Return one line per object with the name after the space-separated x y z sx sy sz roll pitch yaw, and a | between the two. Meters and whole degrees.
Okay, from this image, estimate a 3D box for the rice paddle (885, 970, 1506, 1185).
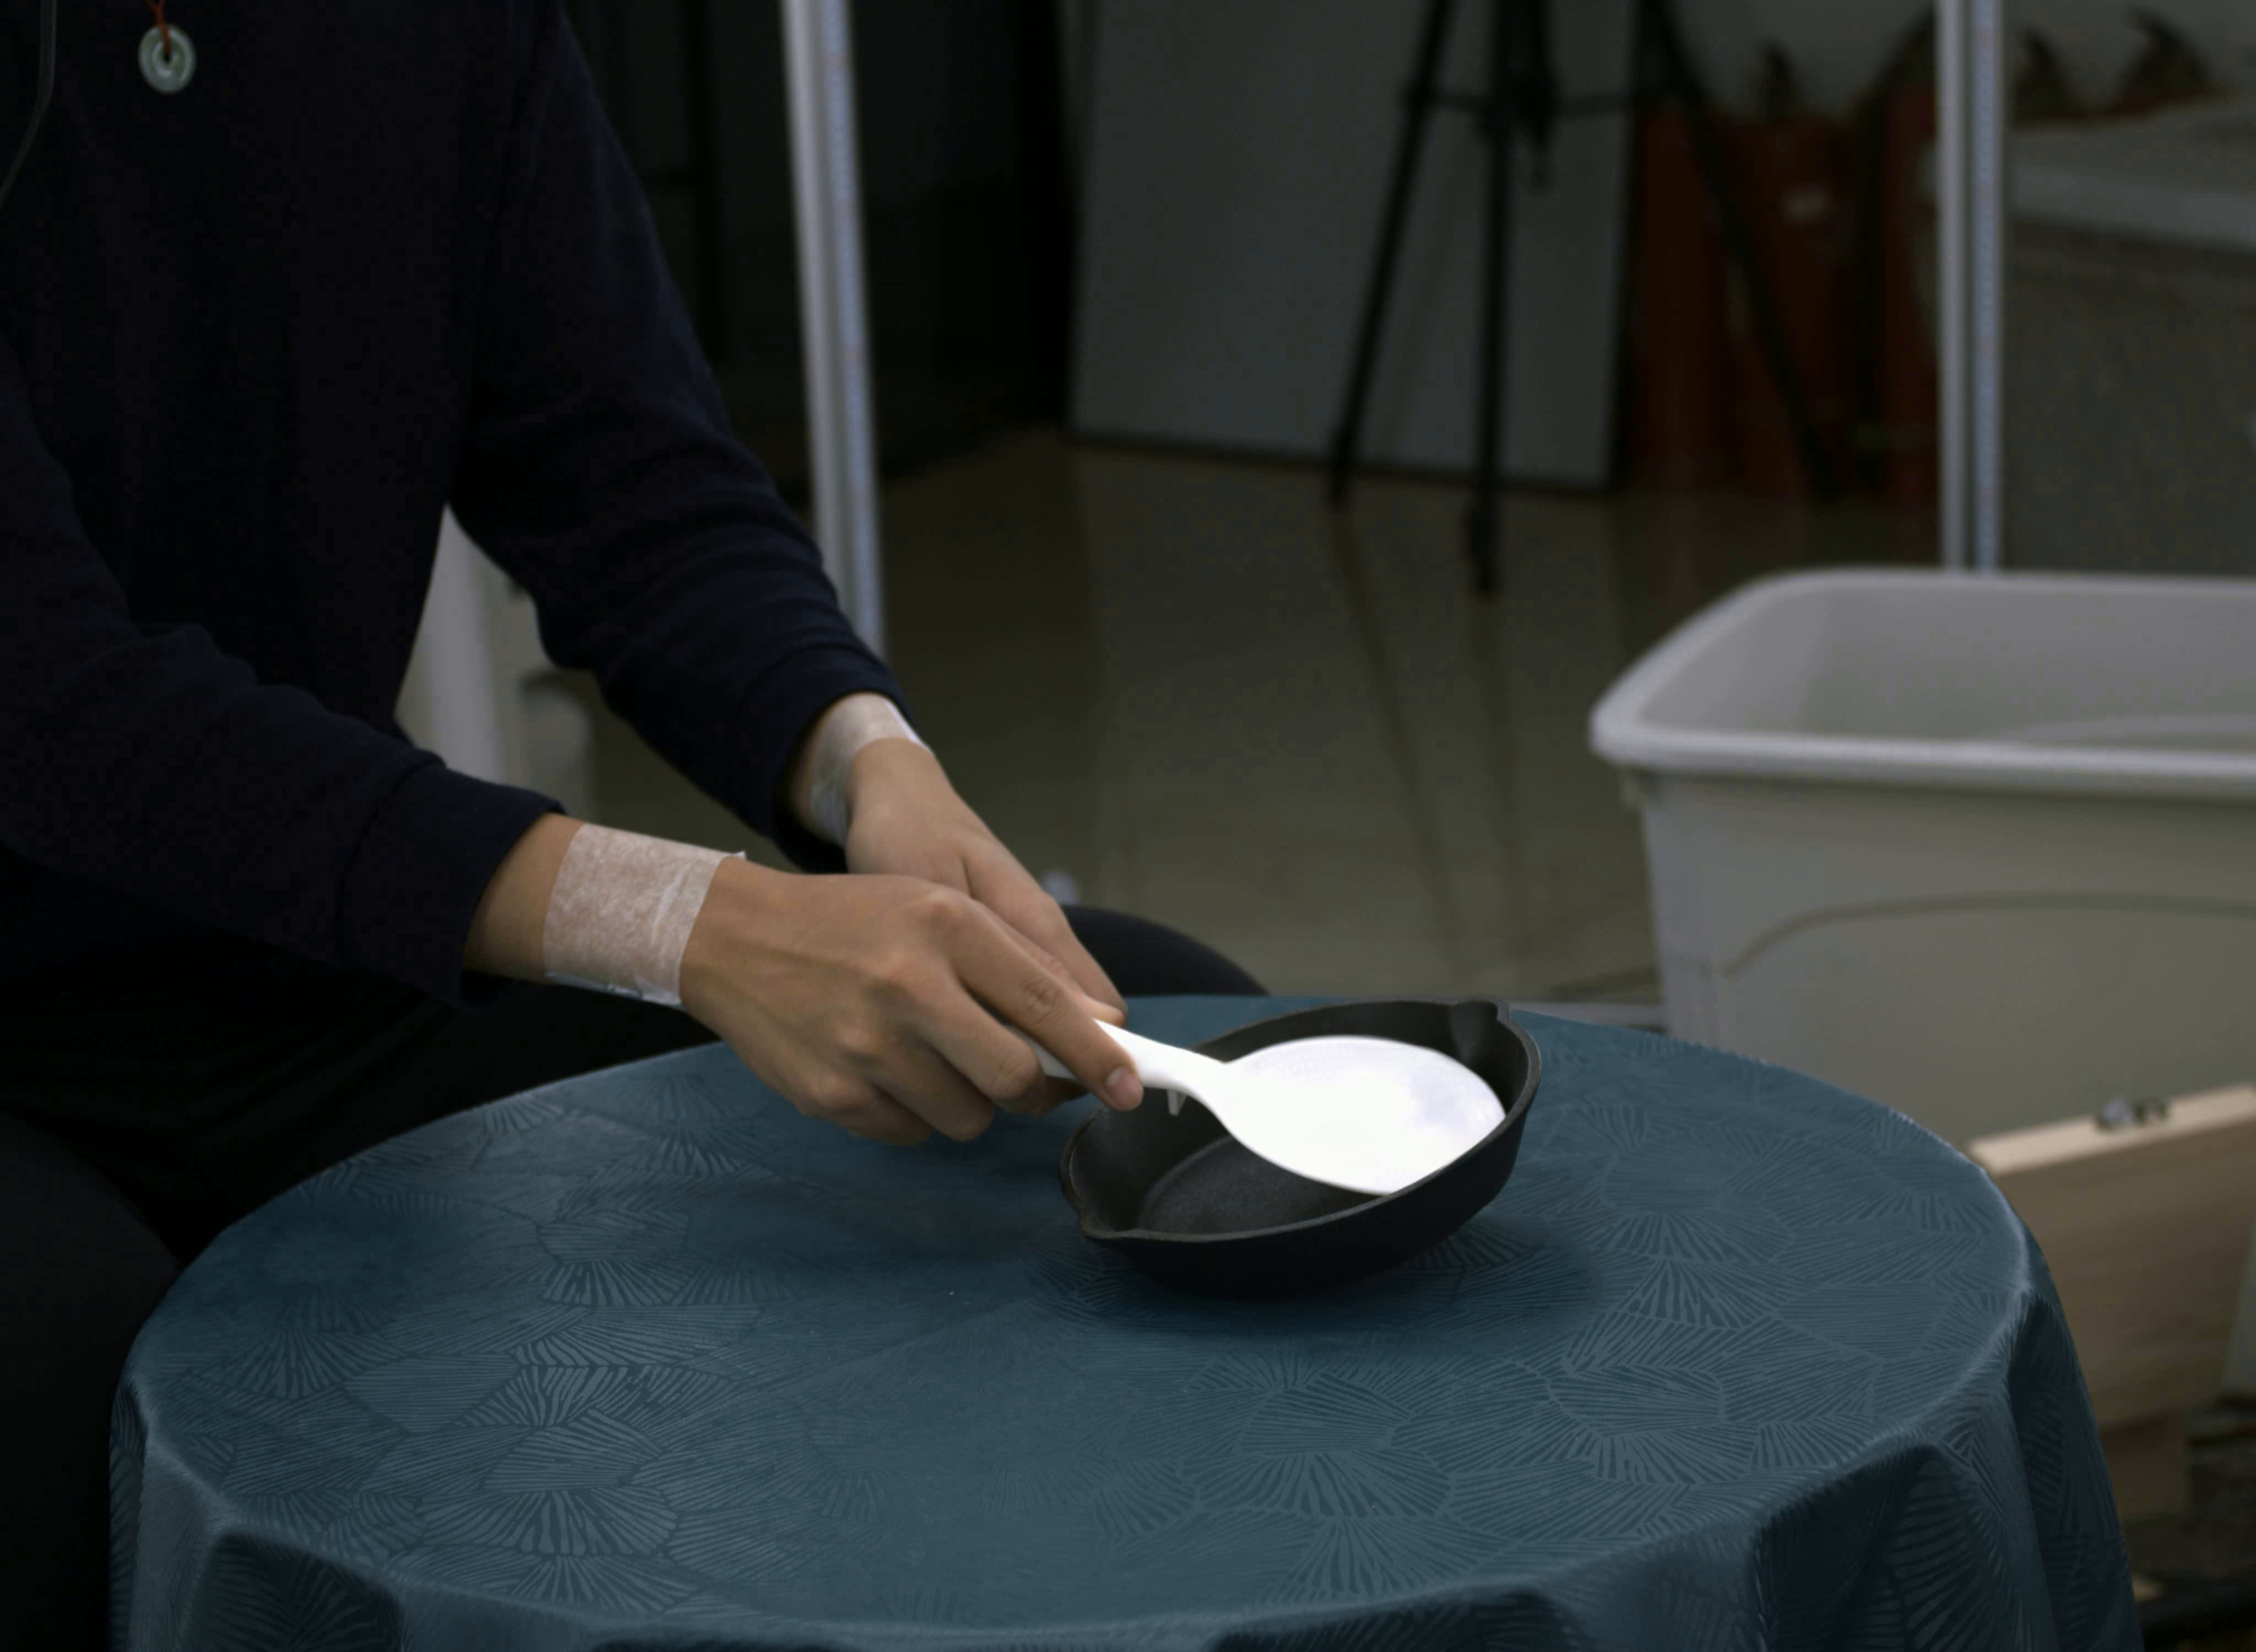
0.022 0.079 1.713 0.204 0.029 0.068 11 41 16 | rice paddle

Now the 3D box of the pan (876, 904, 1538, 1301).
0.010 0.081 1.765 0.166 0.050 0.328 -27 25 -26 | pan
